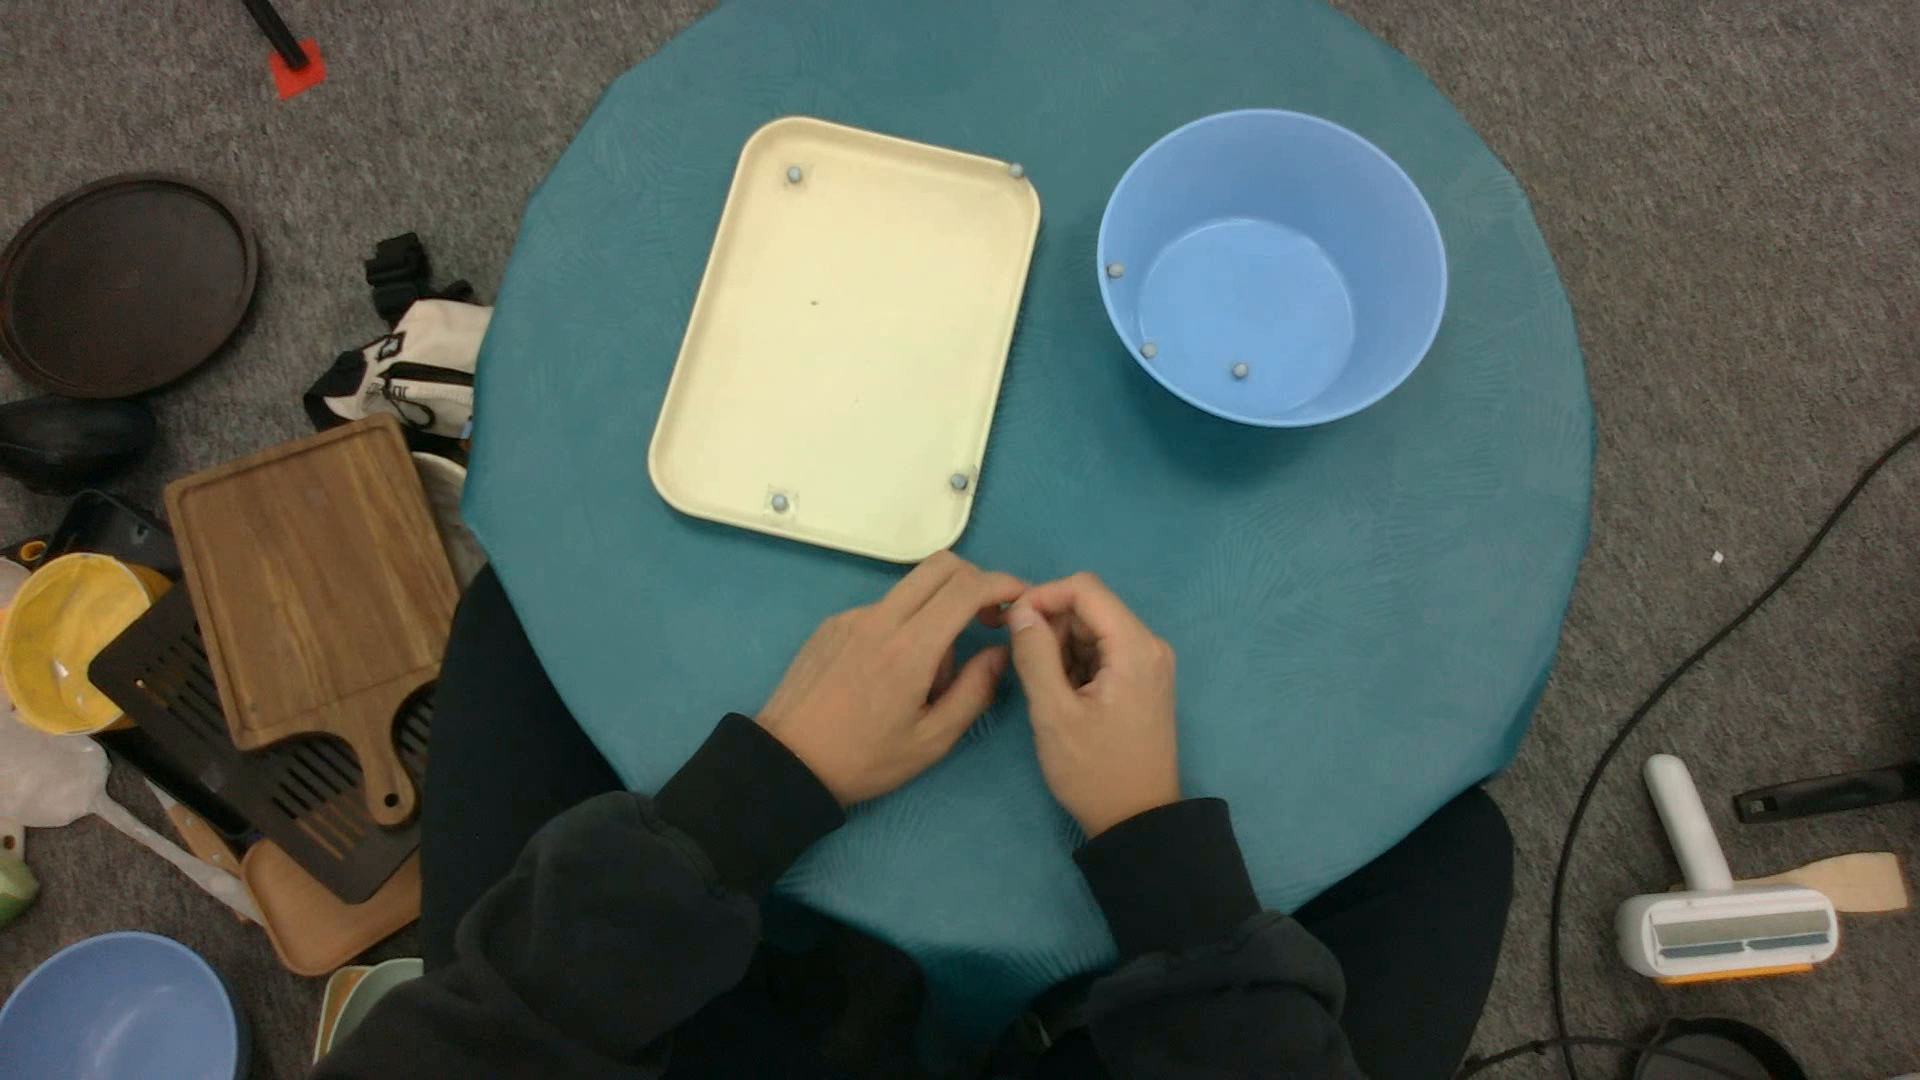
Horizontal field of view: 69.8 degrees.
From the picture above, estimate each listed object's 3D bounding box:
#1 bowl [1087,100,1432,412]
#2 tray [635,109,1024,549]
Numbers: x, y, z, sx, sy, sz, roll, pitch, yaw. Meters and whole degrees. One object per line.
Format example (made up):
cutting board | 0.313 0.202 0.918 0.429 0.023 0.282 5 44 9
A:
bowl | 0.152 -0.138 0.727 0.176 0.070 0.176 0 73 -1
tray | -0.066 -0.117 0.741 0.171 0.017 0.240 12 73 3
